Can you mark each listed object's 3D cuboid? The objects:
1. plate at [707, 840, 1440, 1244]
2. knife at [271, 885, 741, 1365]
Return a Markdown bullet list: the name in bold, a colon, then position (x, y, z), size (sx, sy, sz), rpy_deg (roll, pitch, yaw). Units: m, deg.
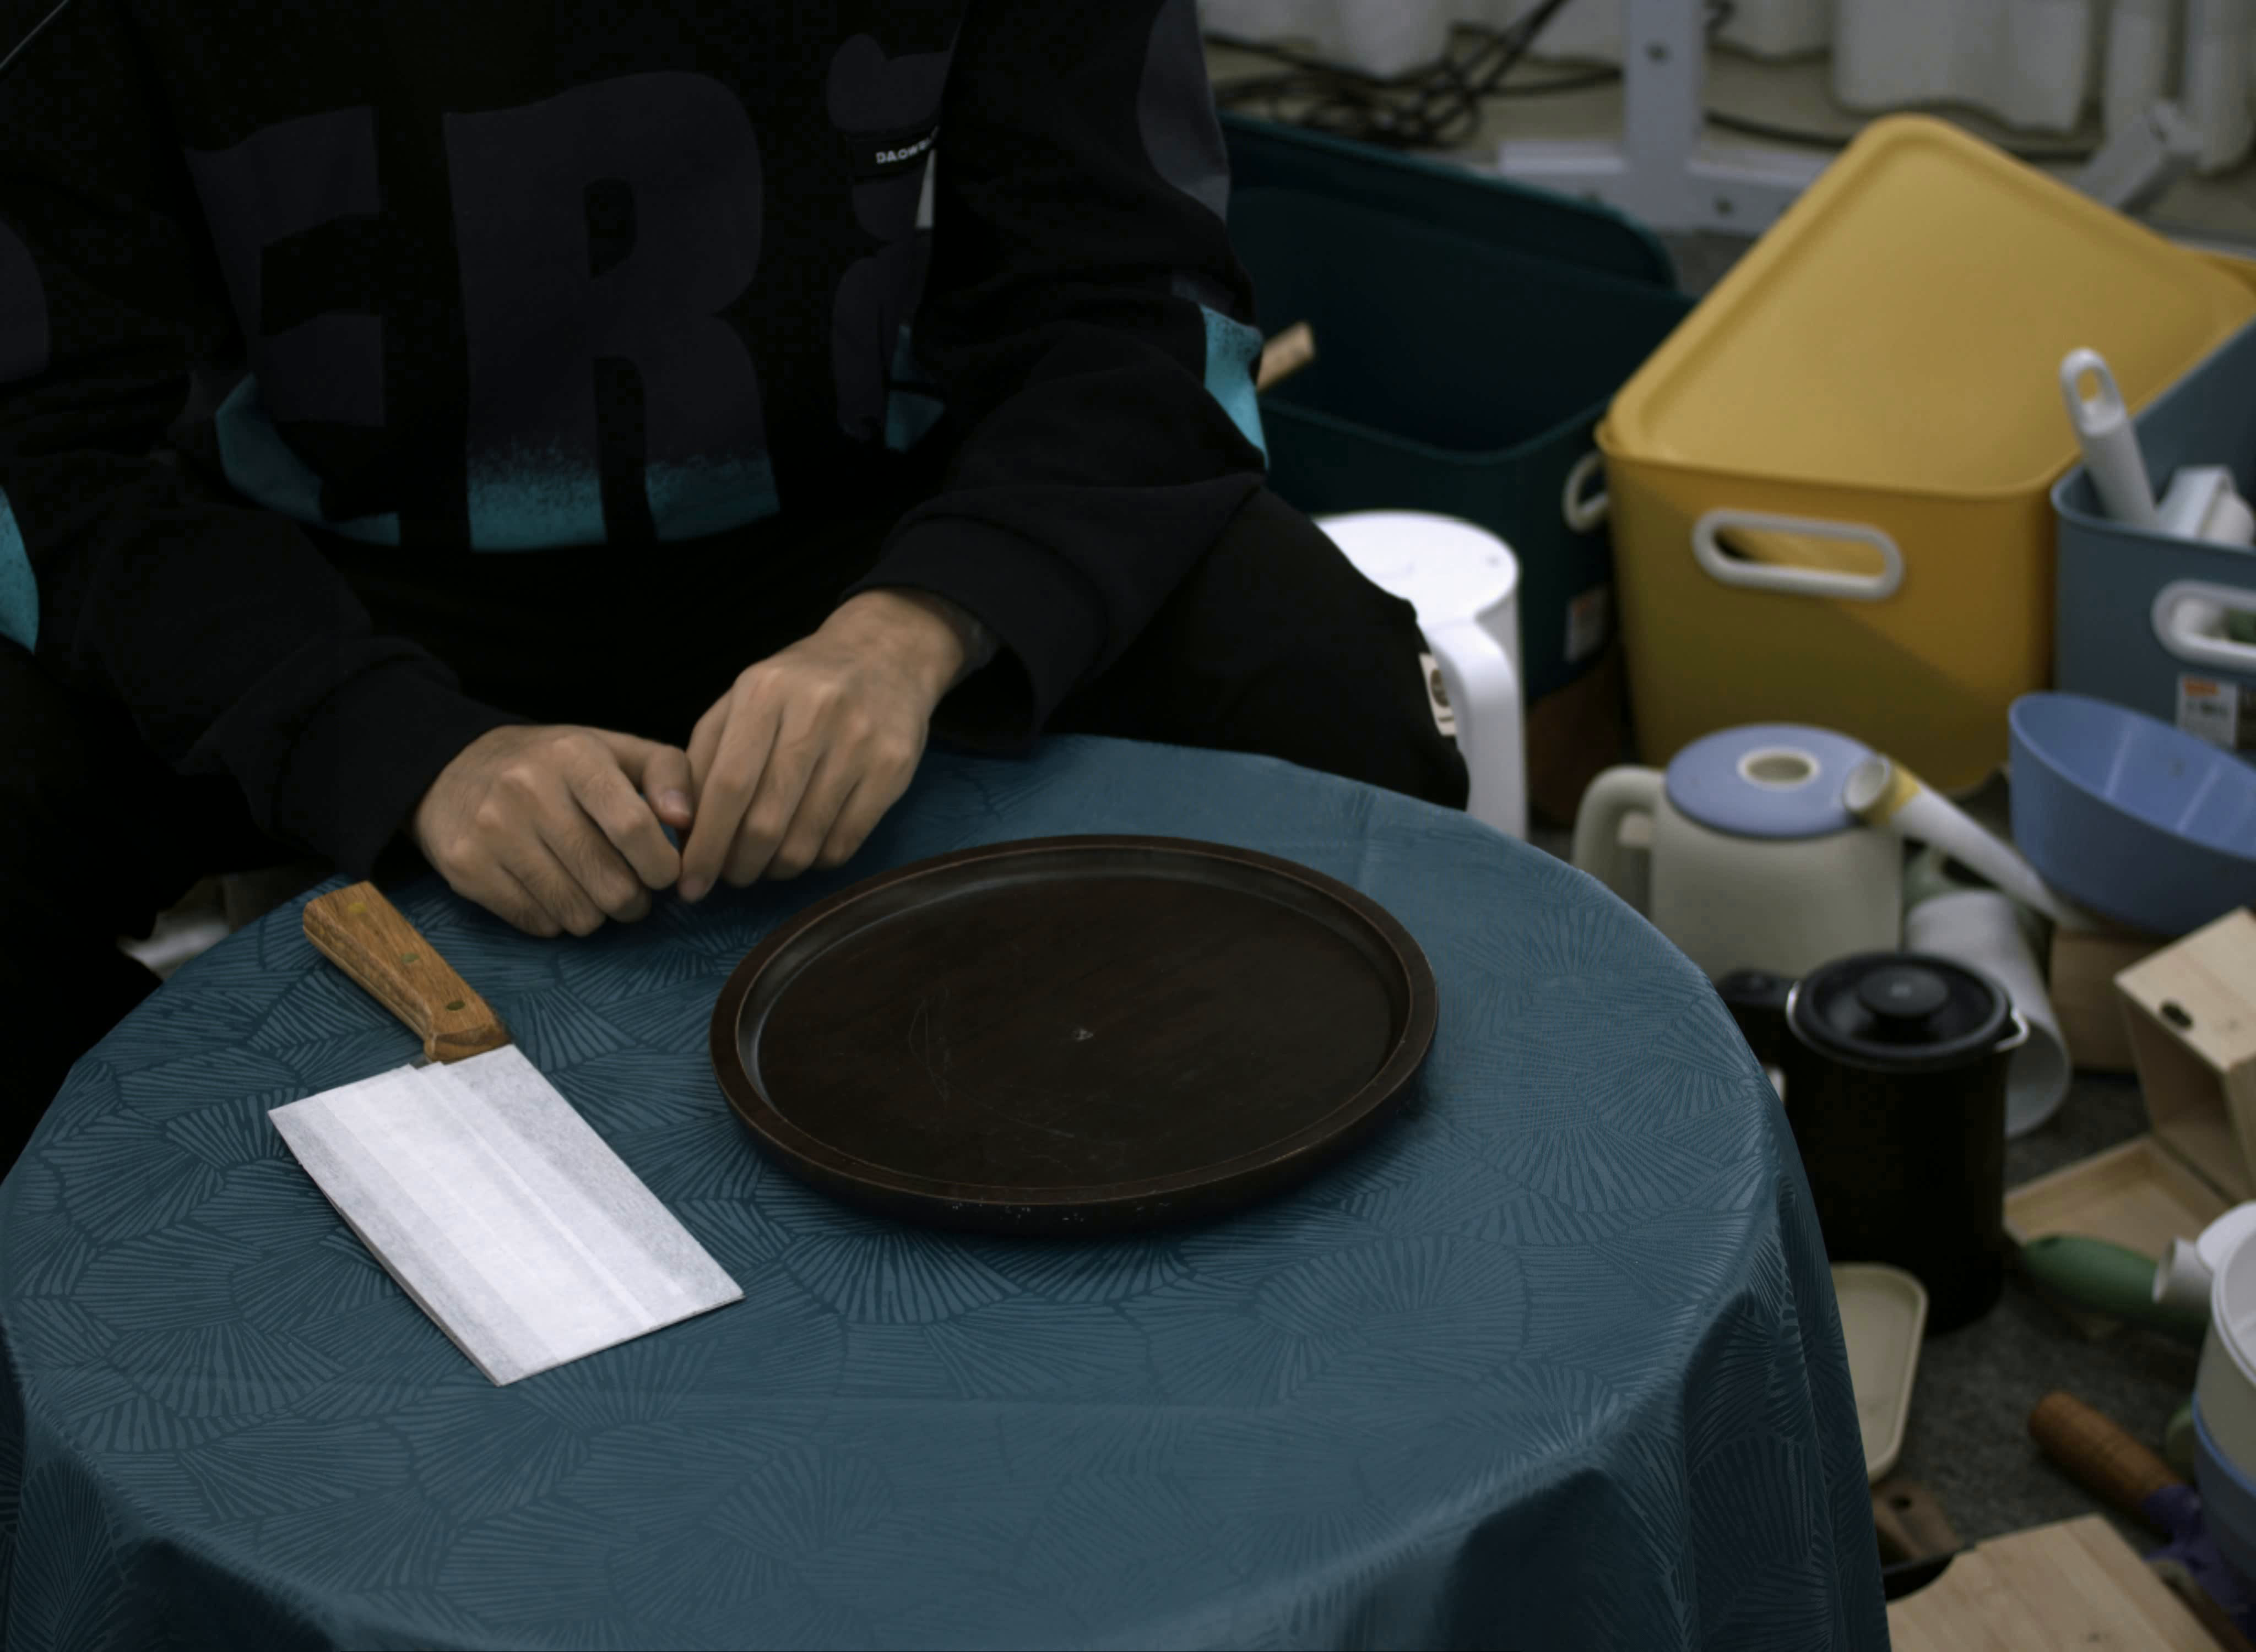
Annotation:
- **plate**: position (-0.019, 0.072, 1.933), size (0.253, 0.029, 0.259), rpy_deg (-3, 29, 2)
- **knife**: position (-0.236, 0.101, 1.908), size (0.093, 0.021, 0.307), rpy_deg (-18, 33, -24)
